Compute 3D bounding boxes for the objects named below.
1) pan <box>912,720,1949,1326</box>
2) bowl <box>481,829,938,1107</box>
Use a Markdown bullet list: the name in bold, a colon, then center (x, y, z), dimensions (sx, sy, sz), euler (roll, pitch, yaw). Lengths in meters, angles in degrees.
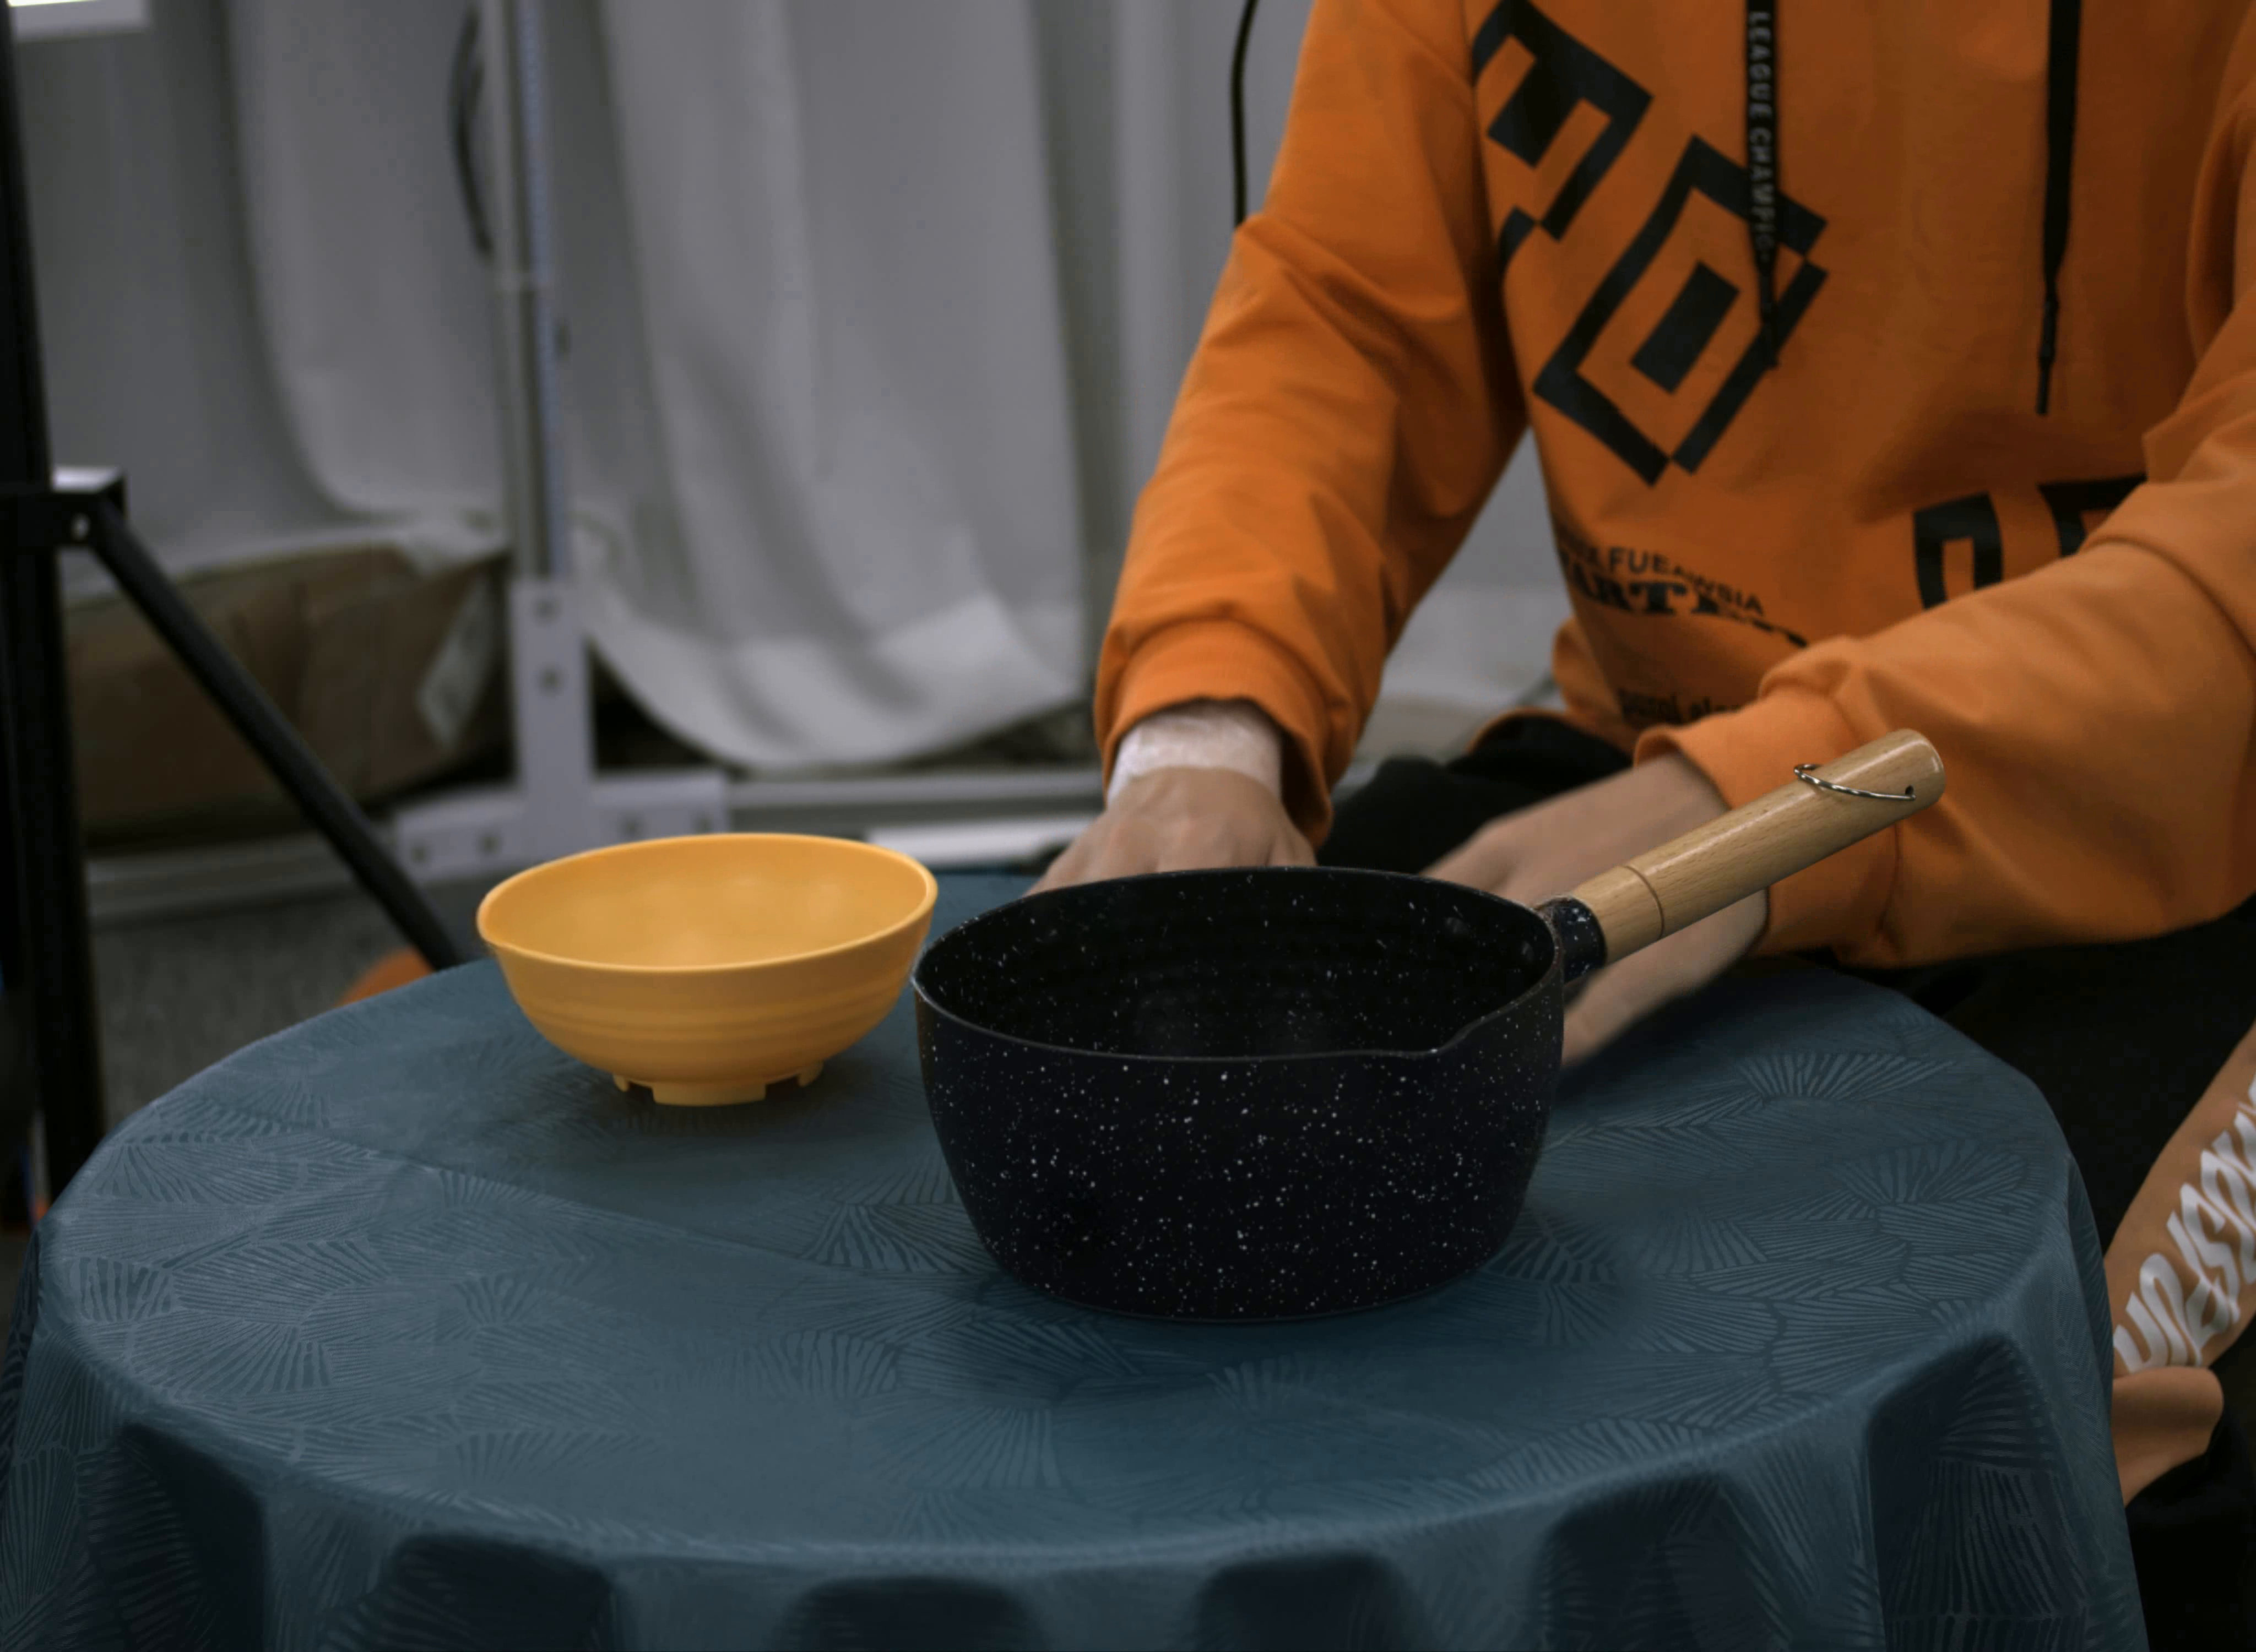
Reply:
- **pan**: center (0.100, 0.052, 1.541), dimensions (0.335, 0.108, 0.212), euler (-13, 17, -28)
- **bowl**: center (-0.131, 0.050, 1.679), dimensions (0.144, 0.060, 0.146), euler (-2, 16, -1)
